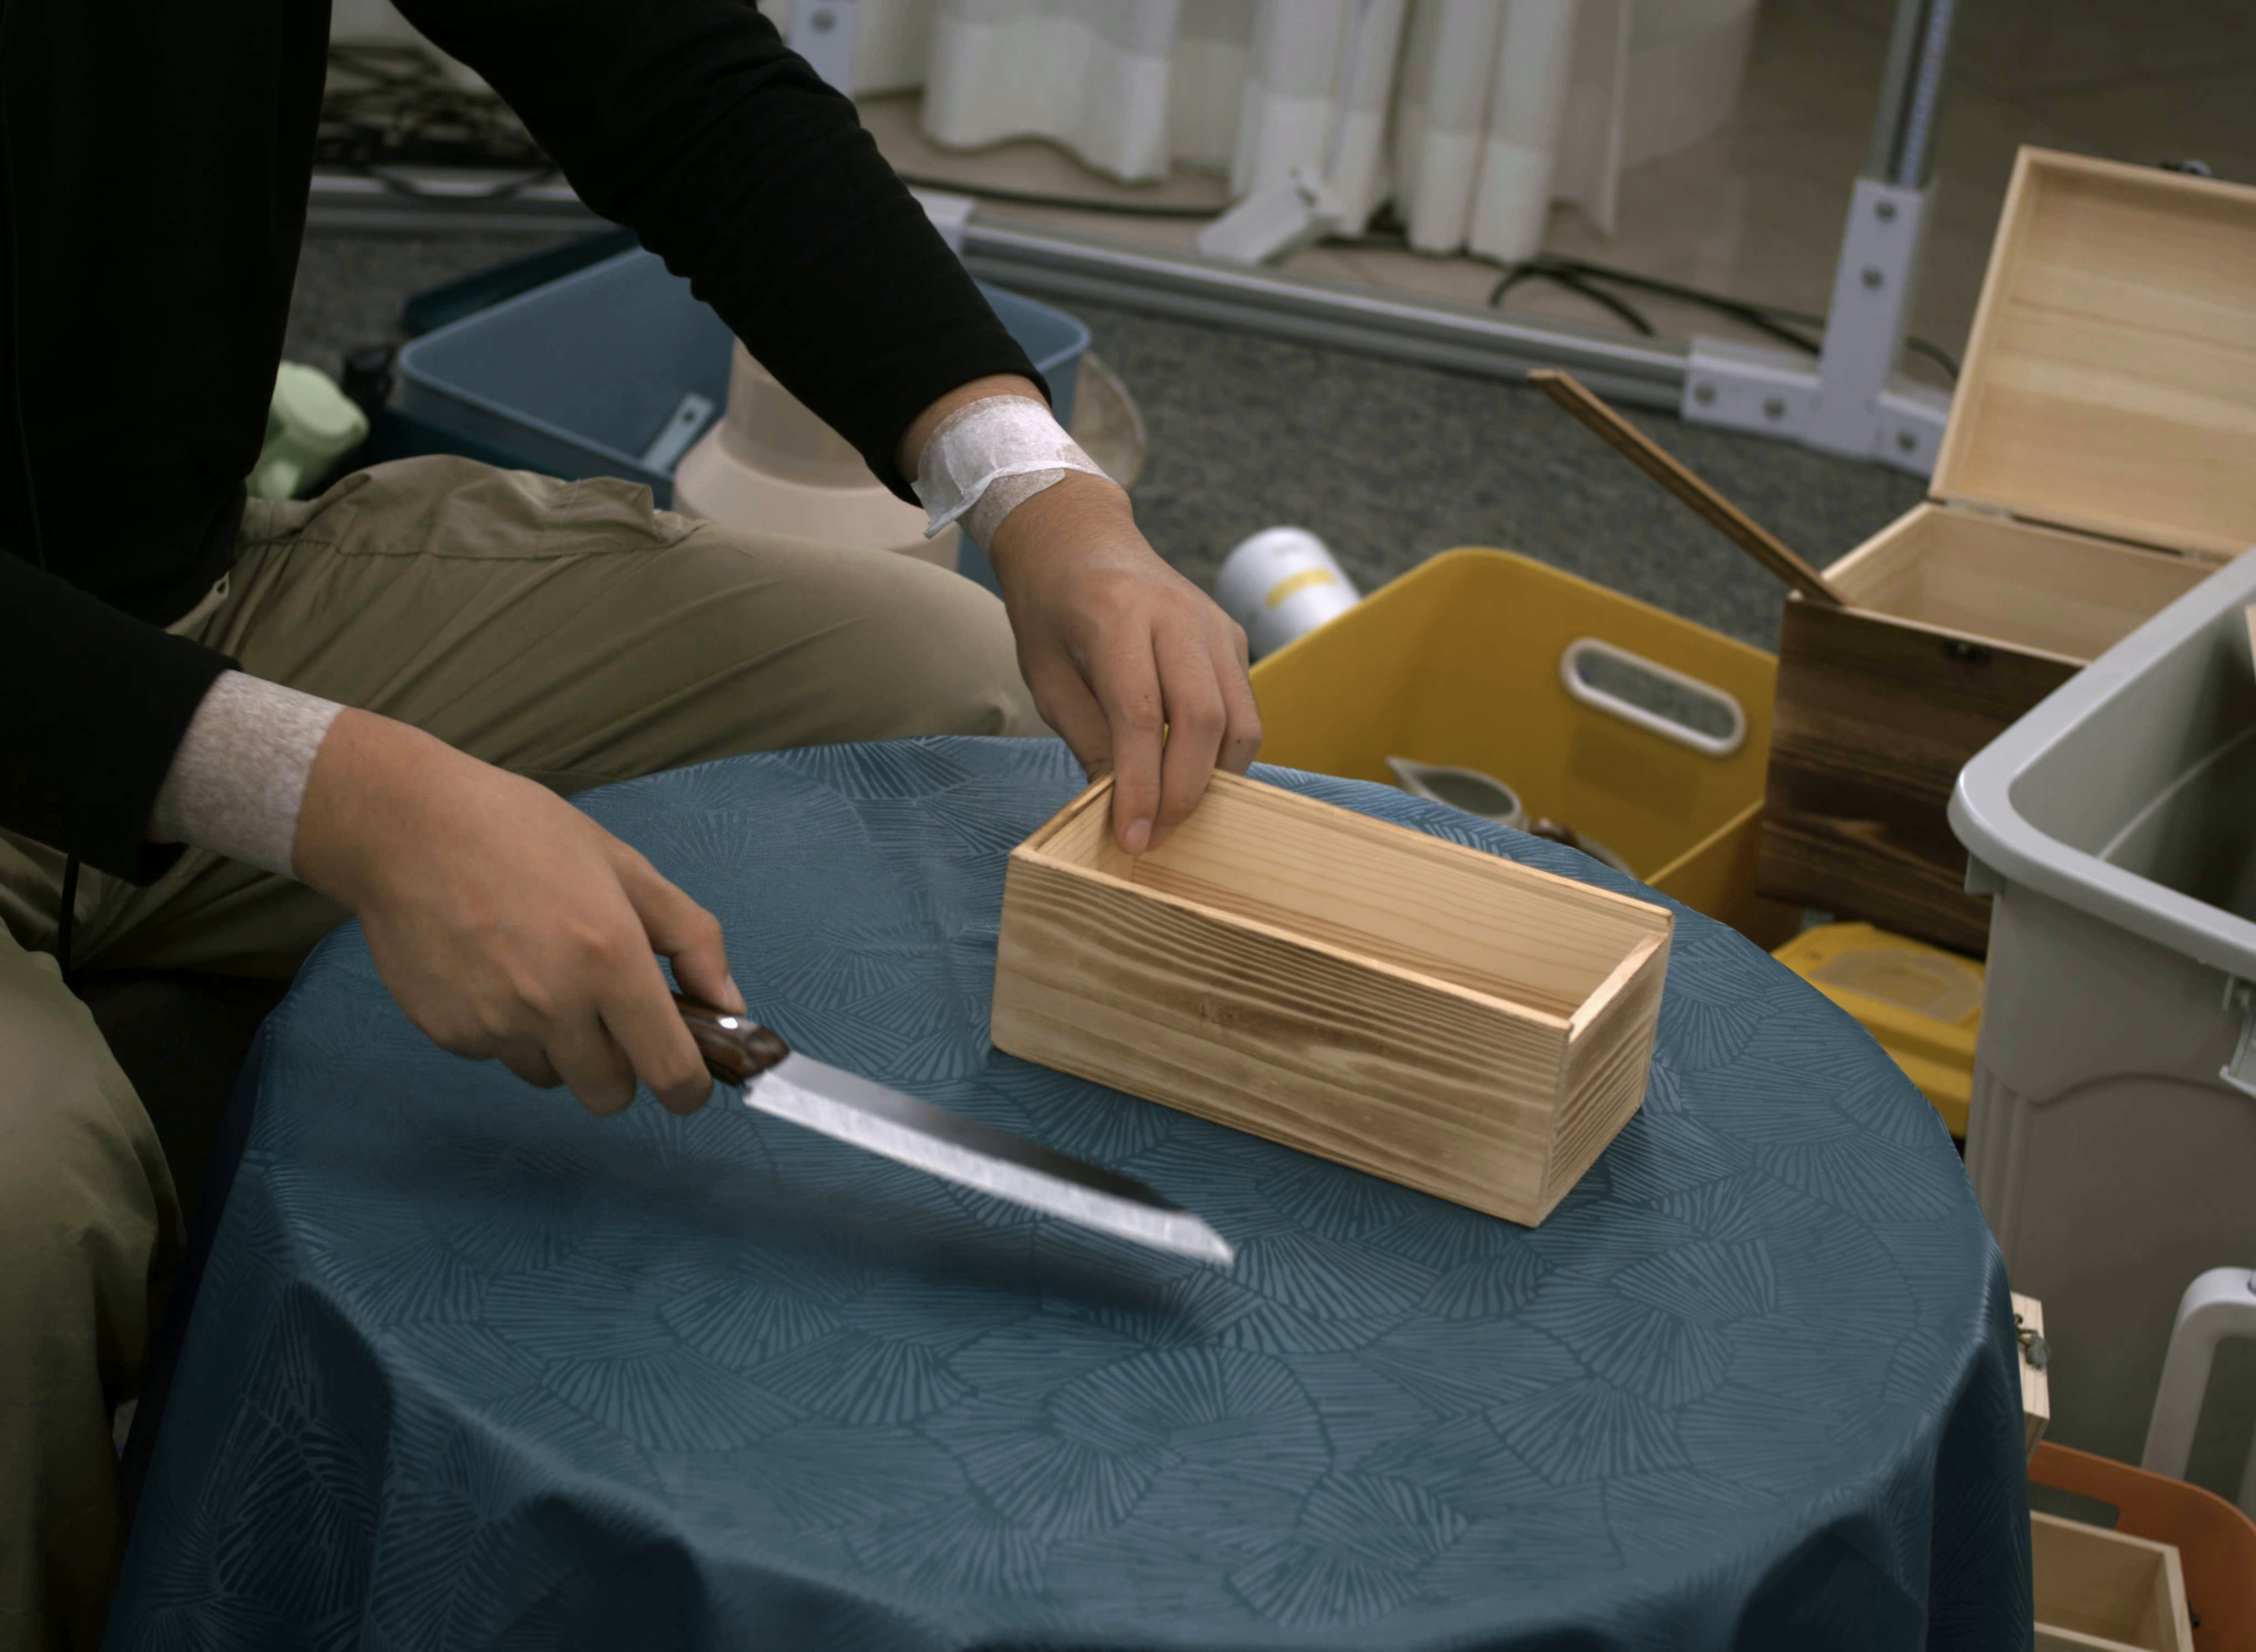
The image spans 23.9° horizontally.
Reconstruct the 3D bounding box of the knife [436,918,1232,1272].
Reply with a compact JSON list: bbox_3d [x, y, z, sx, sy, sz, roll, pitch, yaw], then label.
[{"bbox_3d":[-0.099,0.091,1.751,0.289,0.020,0.050,22,26,8],"label":"knife"}]

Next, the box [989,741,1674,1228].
[{"bbox_3d":[0.070,0.053,1.869,0.212,0.080,0.107,18,28,21],"label":"box"}]
